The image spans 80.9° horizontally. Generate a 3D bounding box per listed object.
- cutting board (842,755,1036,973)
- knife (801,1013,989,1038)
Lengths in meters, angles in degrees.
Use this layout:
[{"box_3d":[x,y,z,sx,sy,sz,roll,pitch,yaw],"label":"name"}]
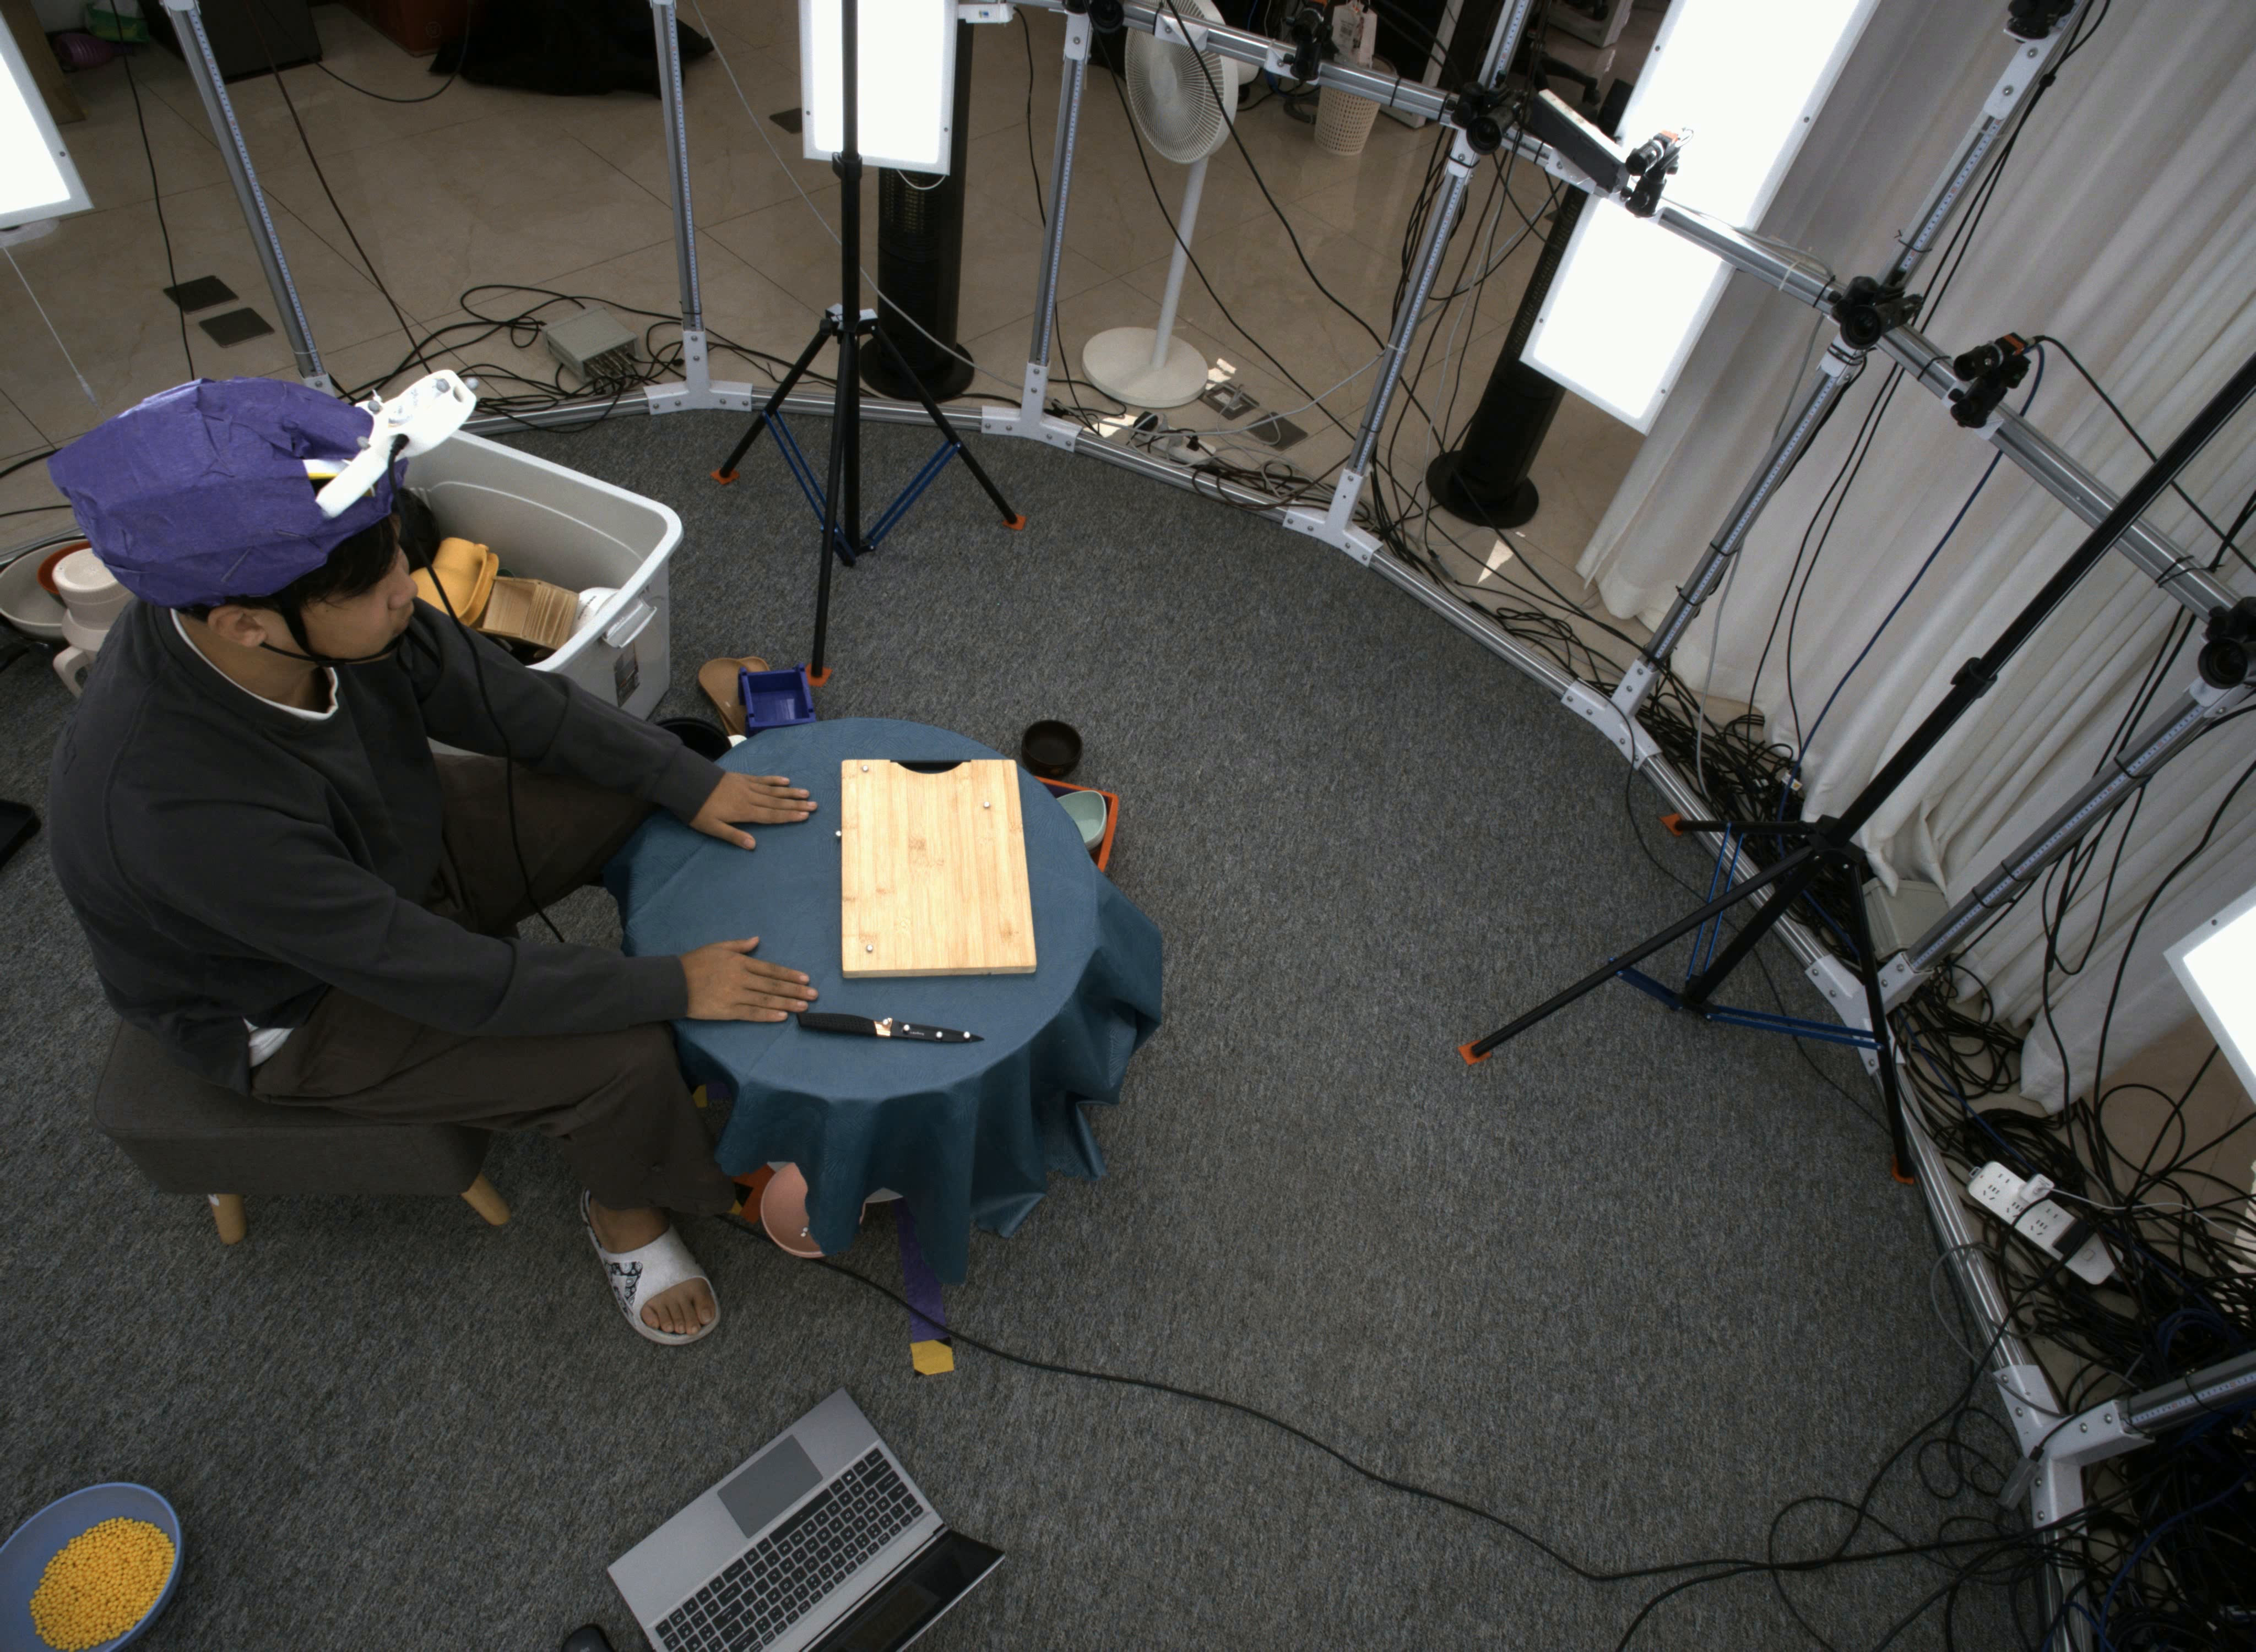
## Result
[{"box_3d":[-0.254,0.043,1.720,0.251,0.024,0.341,0,54,-15],"label":"cutting board"},{"box_3d":[-0.280,0.241,1.569,0.225,0.017,0.025,7,46,-10],"label":"knife"}]
